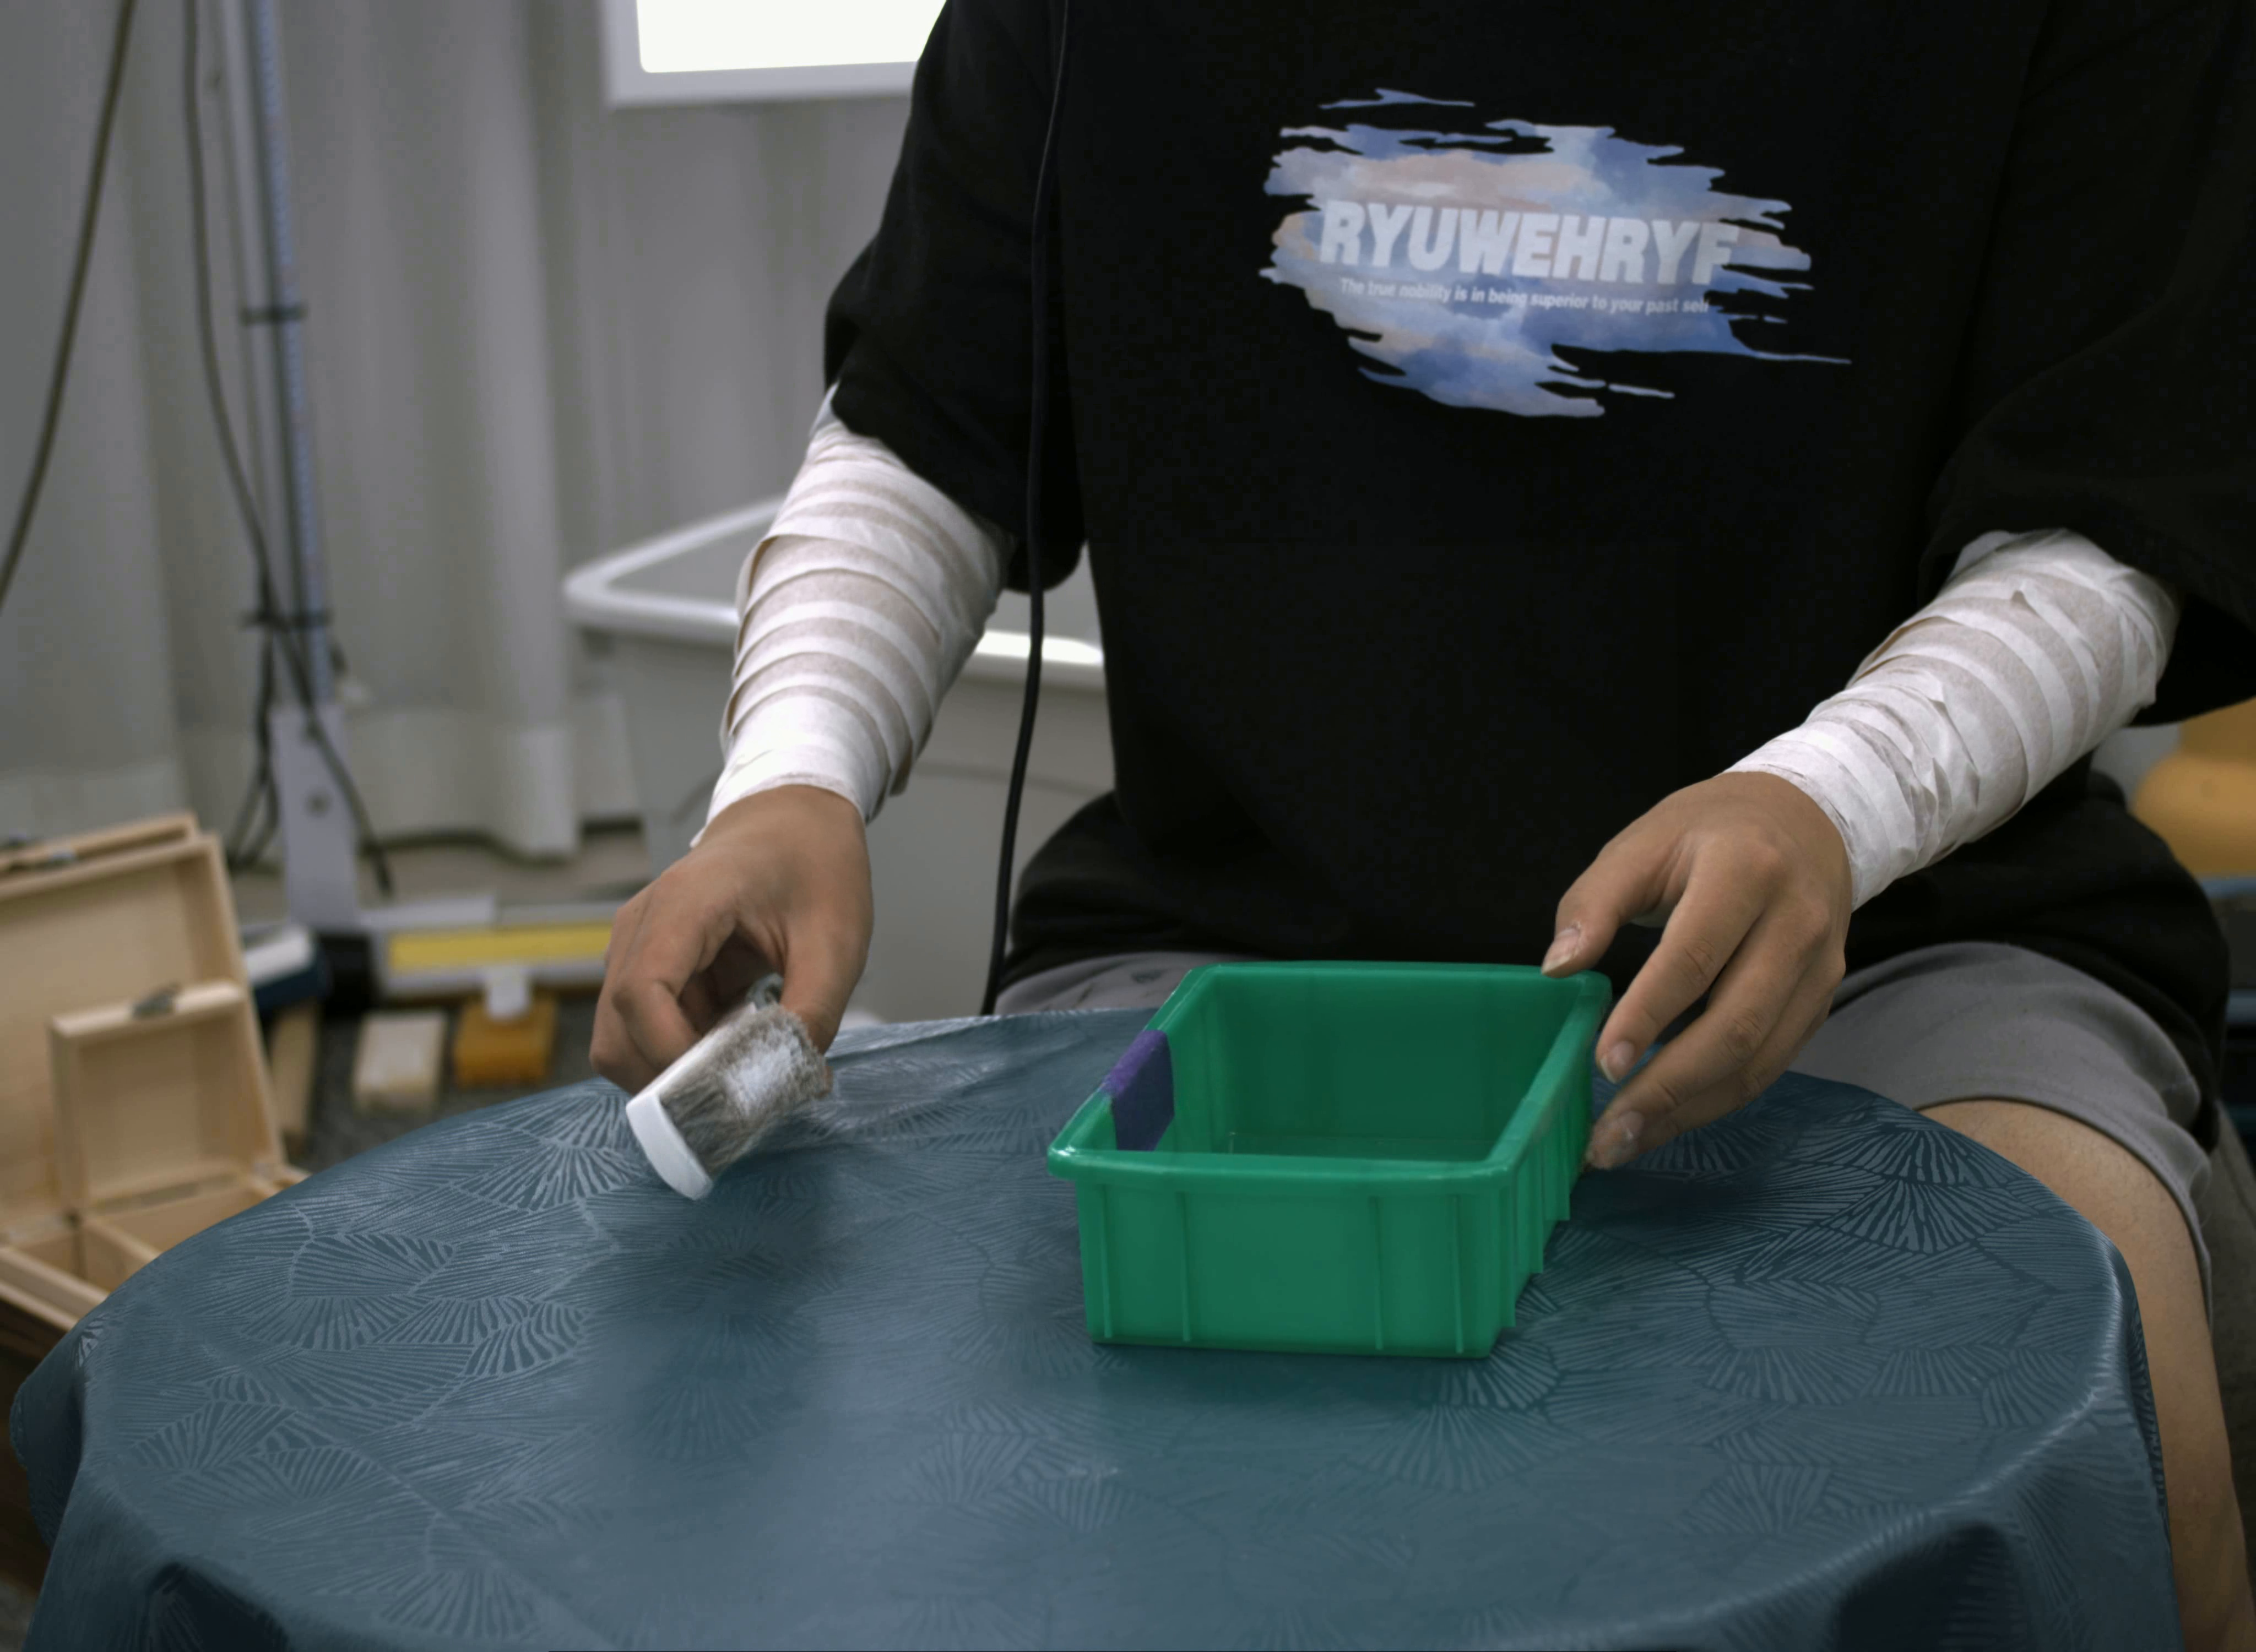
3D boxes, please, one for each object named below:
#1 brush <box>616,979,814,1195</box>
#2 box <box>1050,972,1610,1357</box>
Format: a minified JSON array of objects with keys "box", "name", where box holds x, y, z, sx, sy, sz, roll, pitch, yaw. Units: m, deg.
[{"box":[-0.115,0.071,1.741,0.050,0.034,0.244,-28,4,10],"name":"brush"},{"box":[0.065,0.100,1.637,0.138,0.065,0.211,-1,14,14],"name":"box"}]
